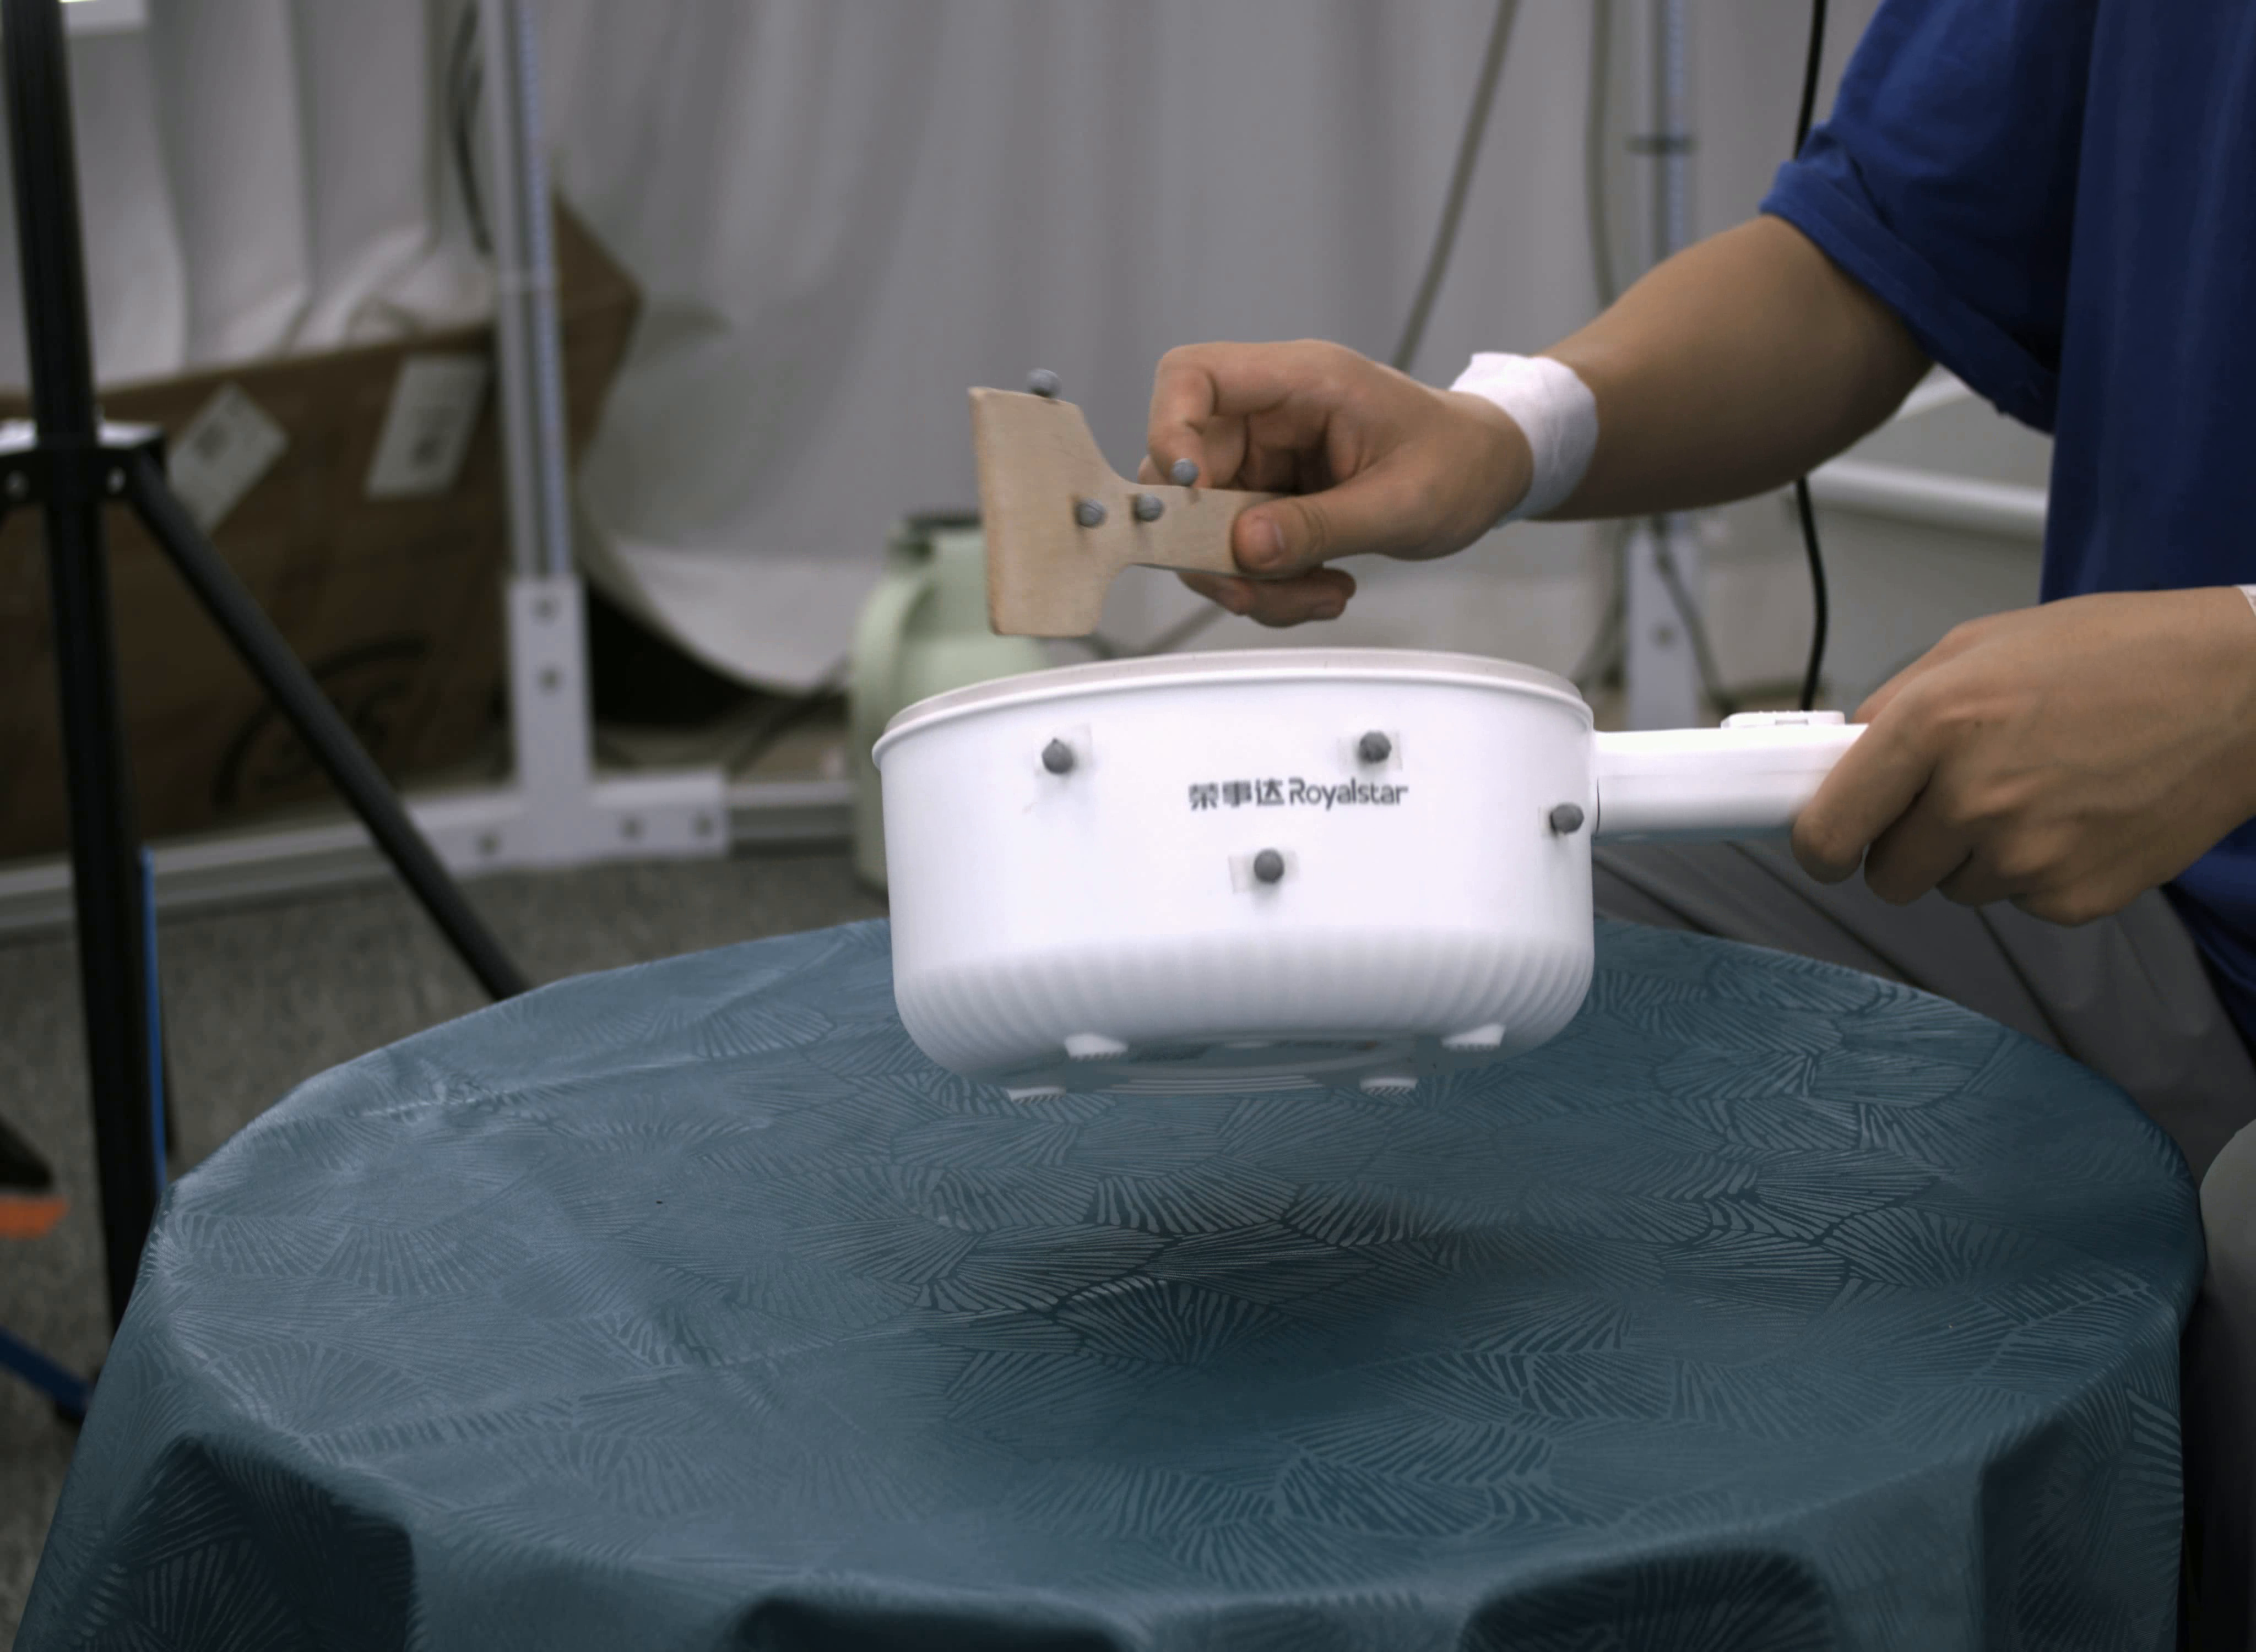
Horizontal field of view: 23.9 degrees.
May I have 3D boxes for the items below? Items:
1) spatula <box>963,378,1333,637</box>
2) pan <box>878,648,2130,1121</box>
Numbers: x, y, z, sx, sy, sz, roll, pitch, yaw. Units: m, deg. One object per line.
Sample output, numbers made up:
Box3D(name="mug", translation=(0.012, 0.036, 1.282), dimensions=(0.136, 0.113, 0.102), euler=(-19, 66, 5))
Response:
Box3D(name="spatula", translation=(0.010, -0.091, 1.611), dimensions=(0.011, 0.073, 0.288), euler=(-8, -2, 22))
Box3D(name="pan", translation=(0.108, 0.021, 1.477), dimensions=(0.350, 0.103, 0.202), euler=(-1, -11, -9))
